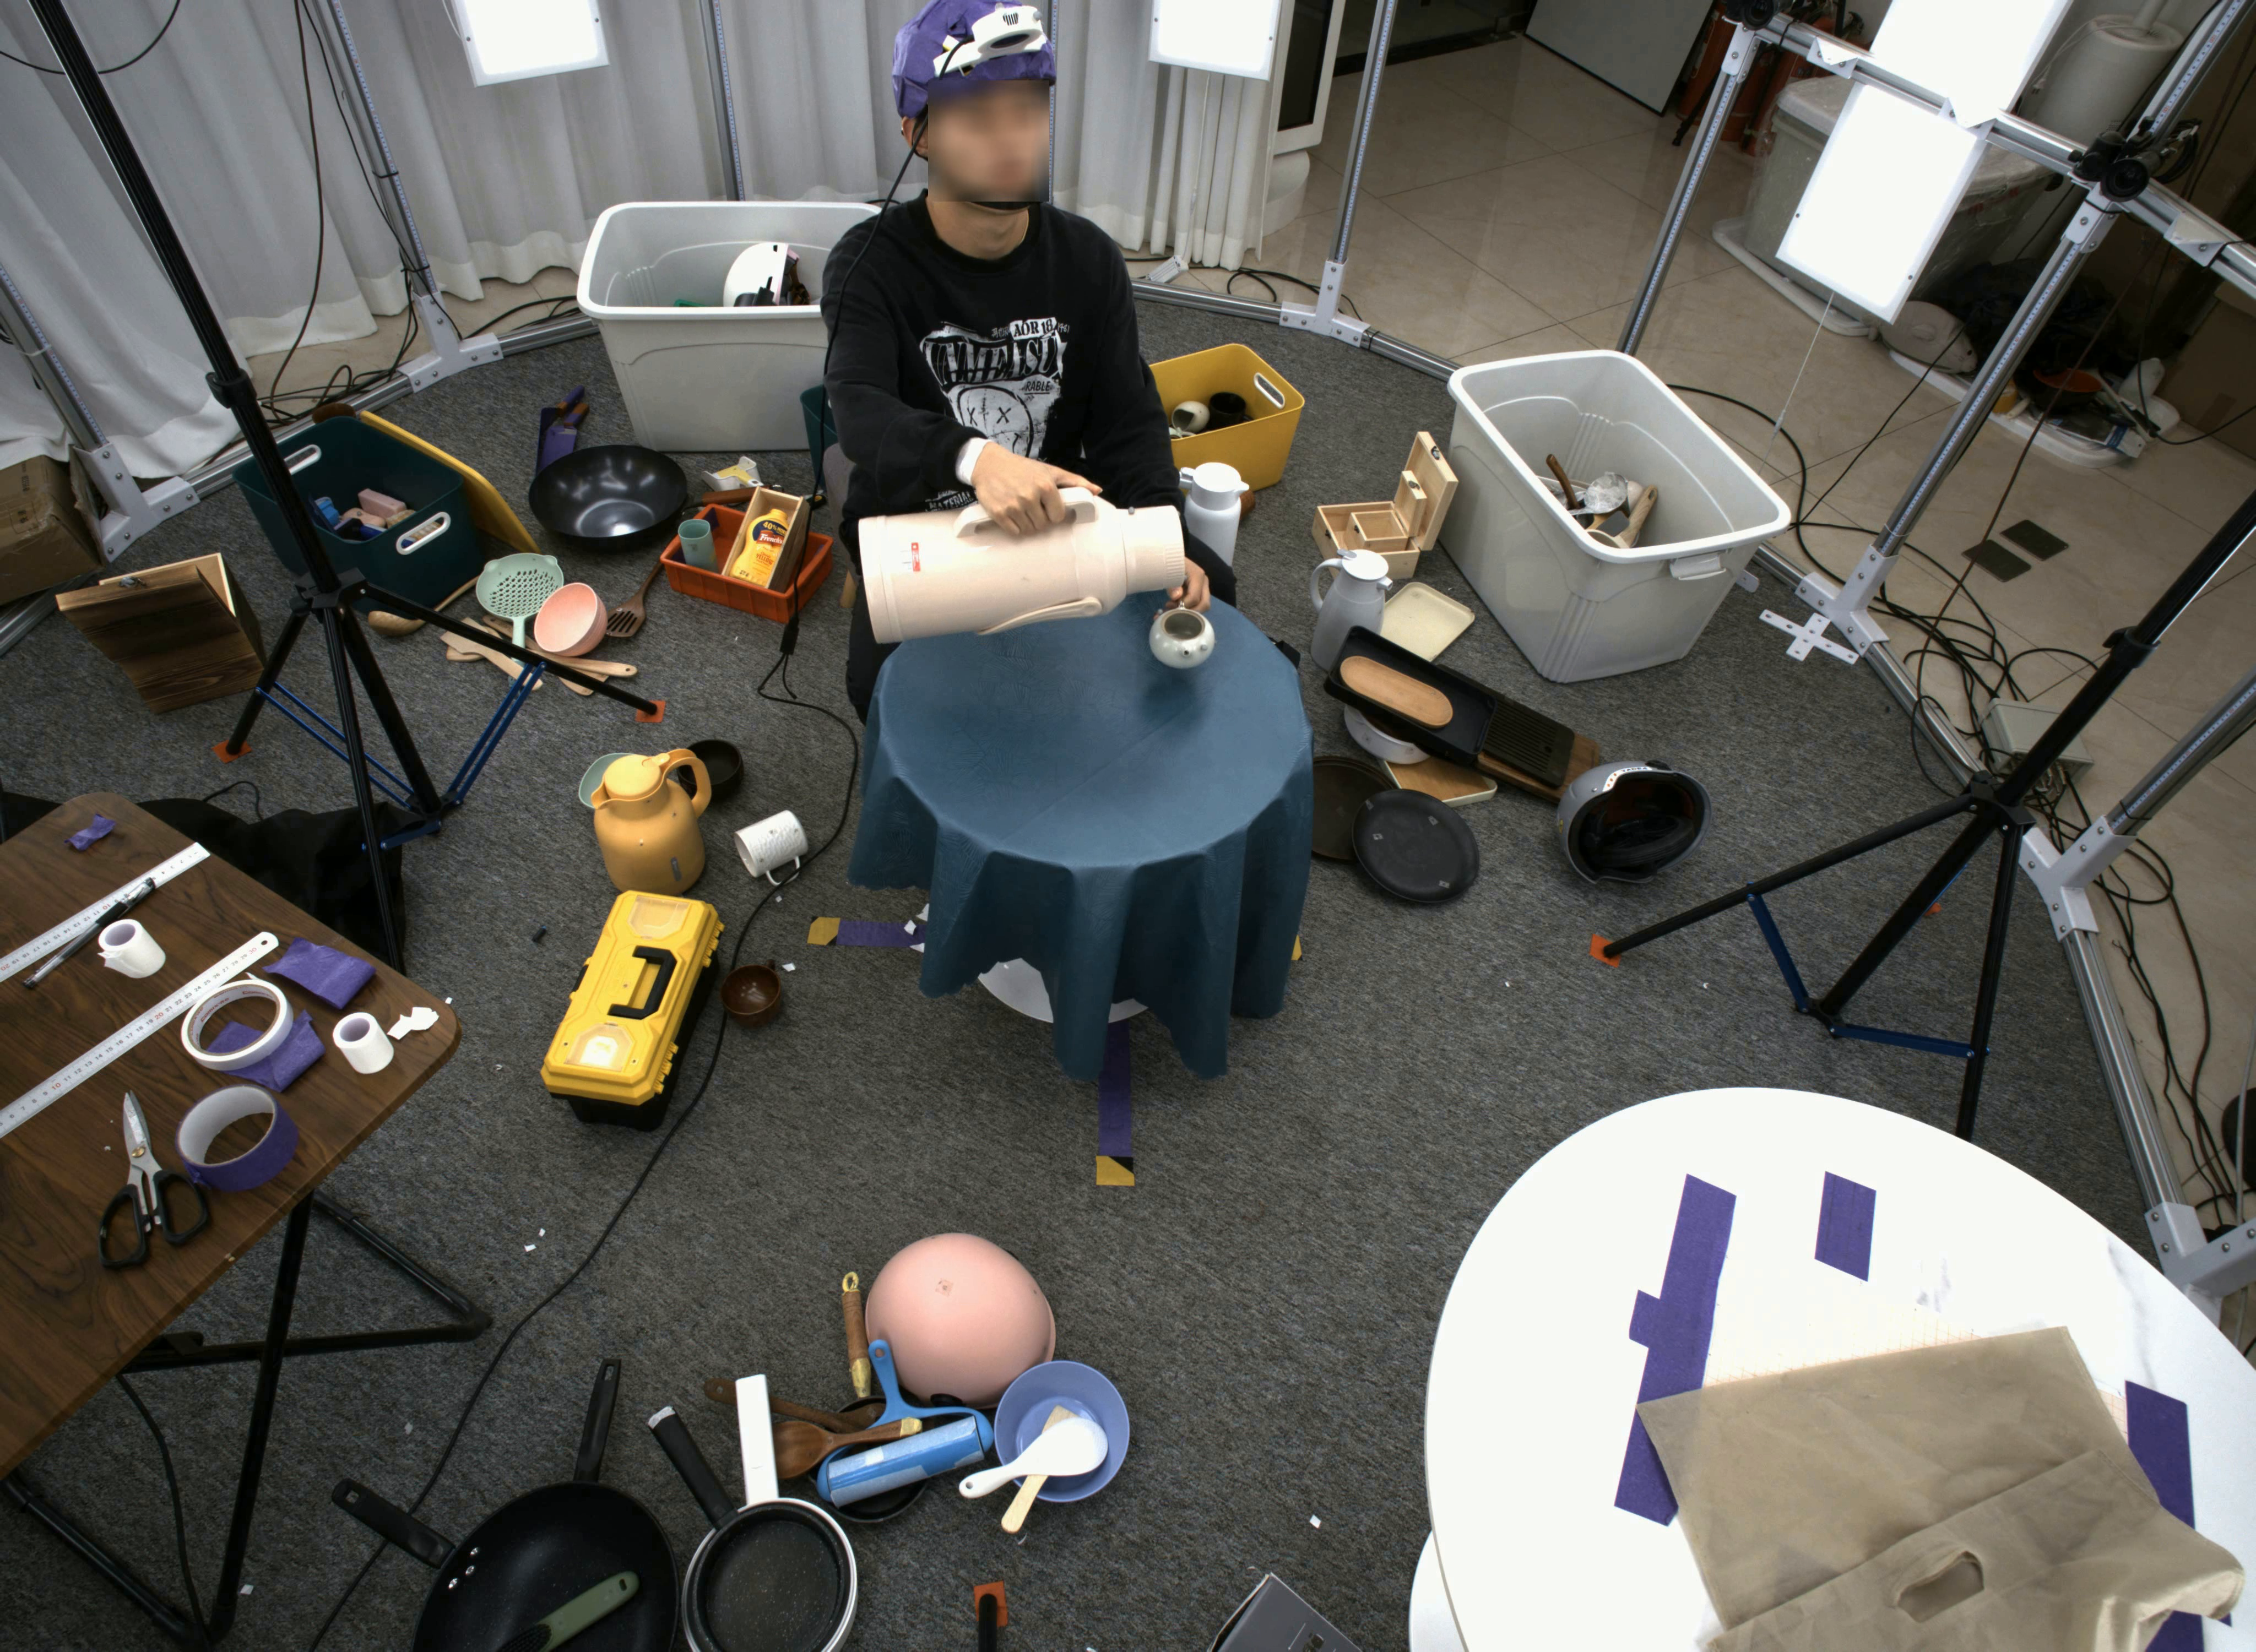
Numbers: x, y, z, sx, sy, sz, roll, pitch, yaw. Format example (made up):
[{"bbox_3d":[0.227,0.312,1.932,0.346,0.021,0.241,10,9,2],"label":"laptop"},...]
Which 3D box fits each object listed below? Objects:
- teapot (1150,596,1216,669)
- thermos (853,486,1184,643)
[{"bbox_3d":[0.076,-0.270,1.806,0.092,0.058,0.131,-5,53,-1],"label":"teapot"},{"bbox_3d":[-0.136,-0.344,1.637,0.406,0.202,0.179,-6,61,-3],"label":"thermos"}]
